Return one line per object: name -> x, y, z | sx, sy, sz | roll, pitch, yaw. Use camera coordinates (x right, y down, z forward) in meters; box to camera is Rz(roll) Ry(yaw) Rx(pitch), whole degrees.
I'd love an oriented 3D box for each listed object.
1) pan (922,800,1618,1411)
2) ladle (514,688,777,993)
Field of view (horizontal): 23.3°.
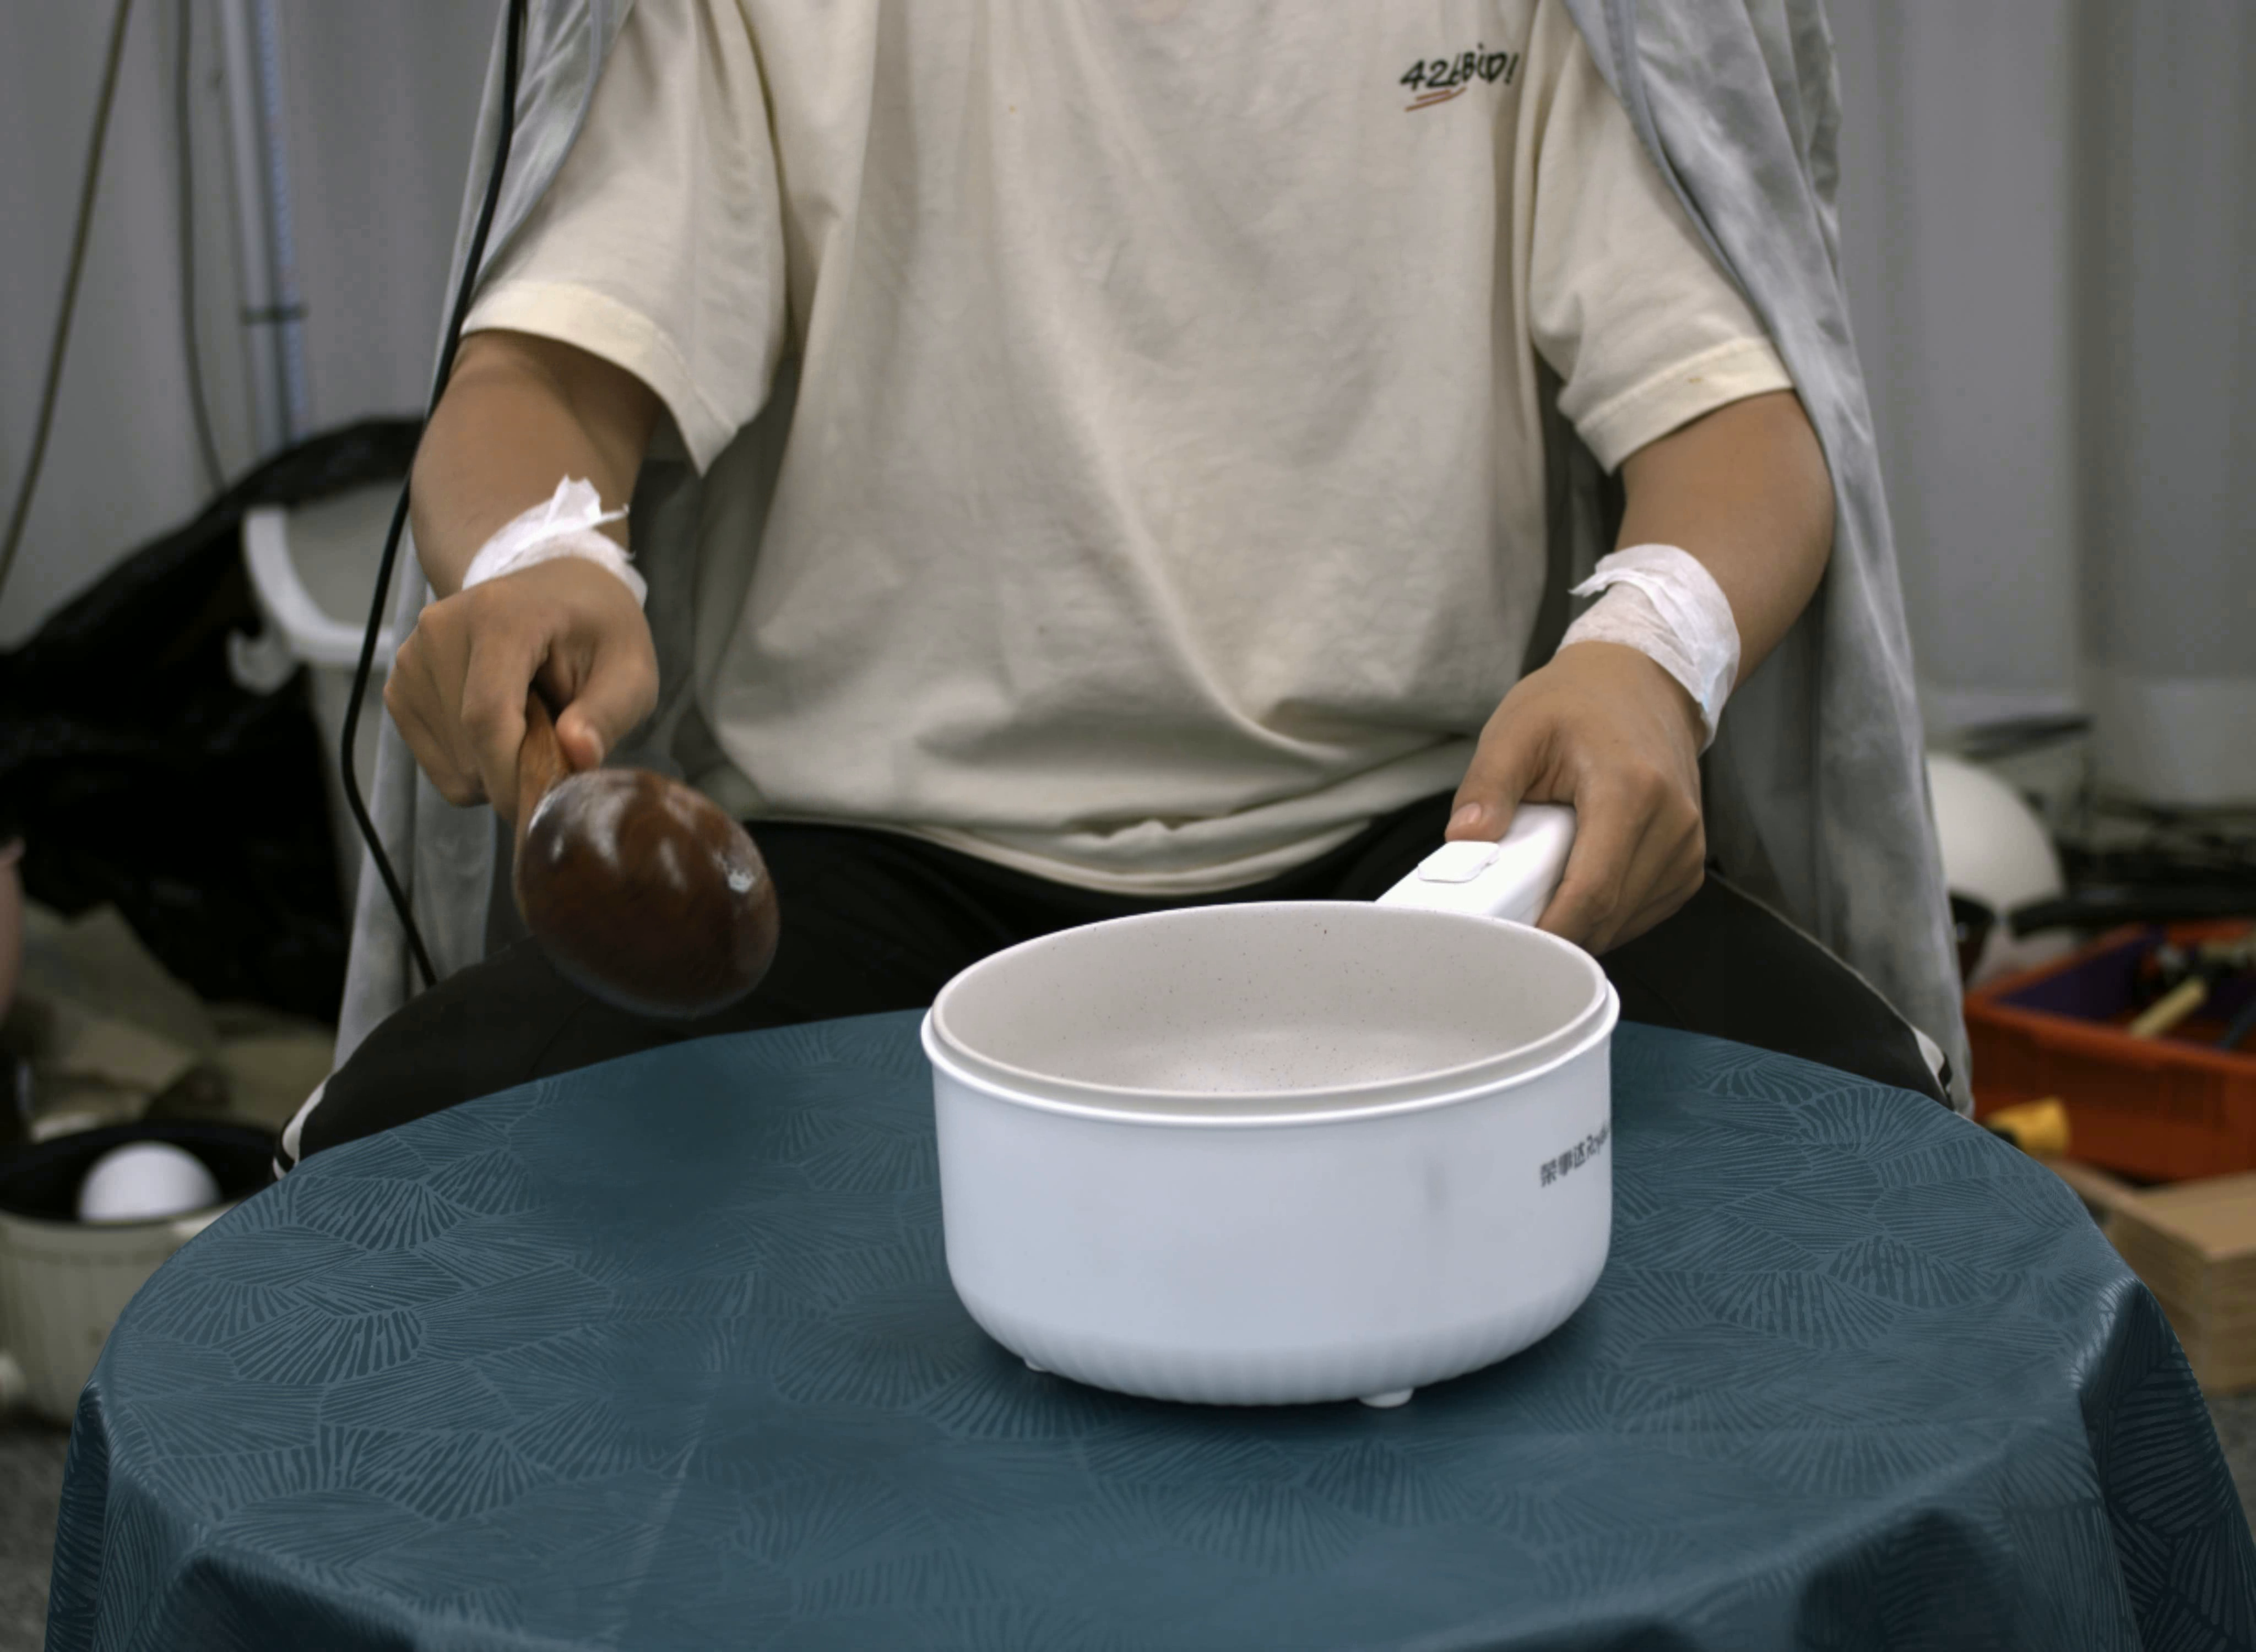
pan -> 0.073, 0.080, 1.652 | 0.201, 0.102, 0.355 | 2, 15, 23
ladle -> -0.150, -0.016, 1.657 | 0.076, 0.081, 0.276 | -24, 16, 1
